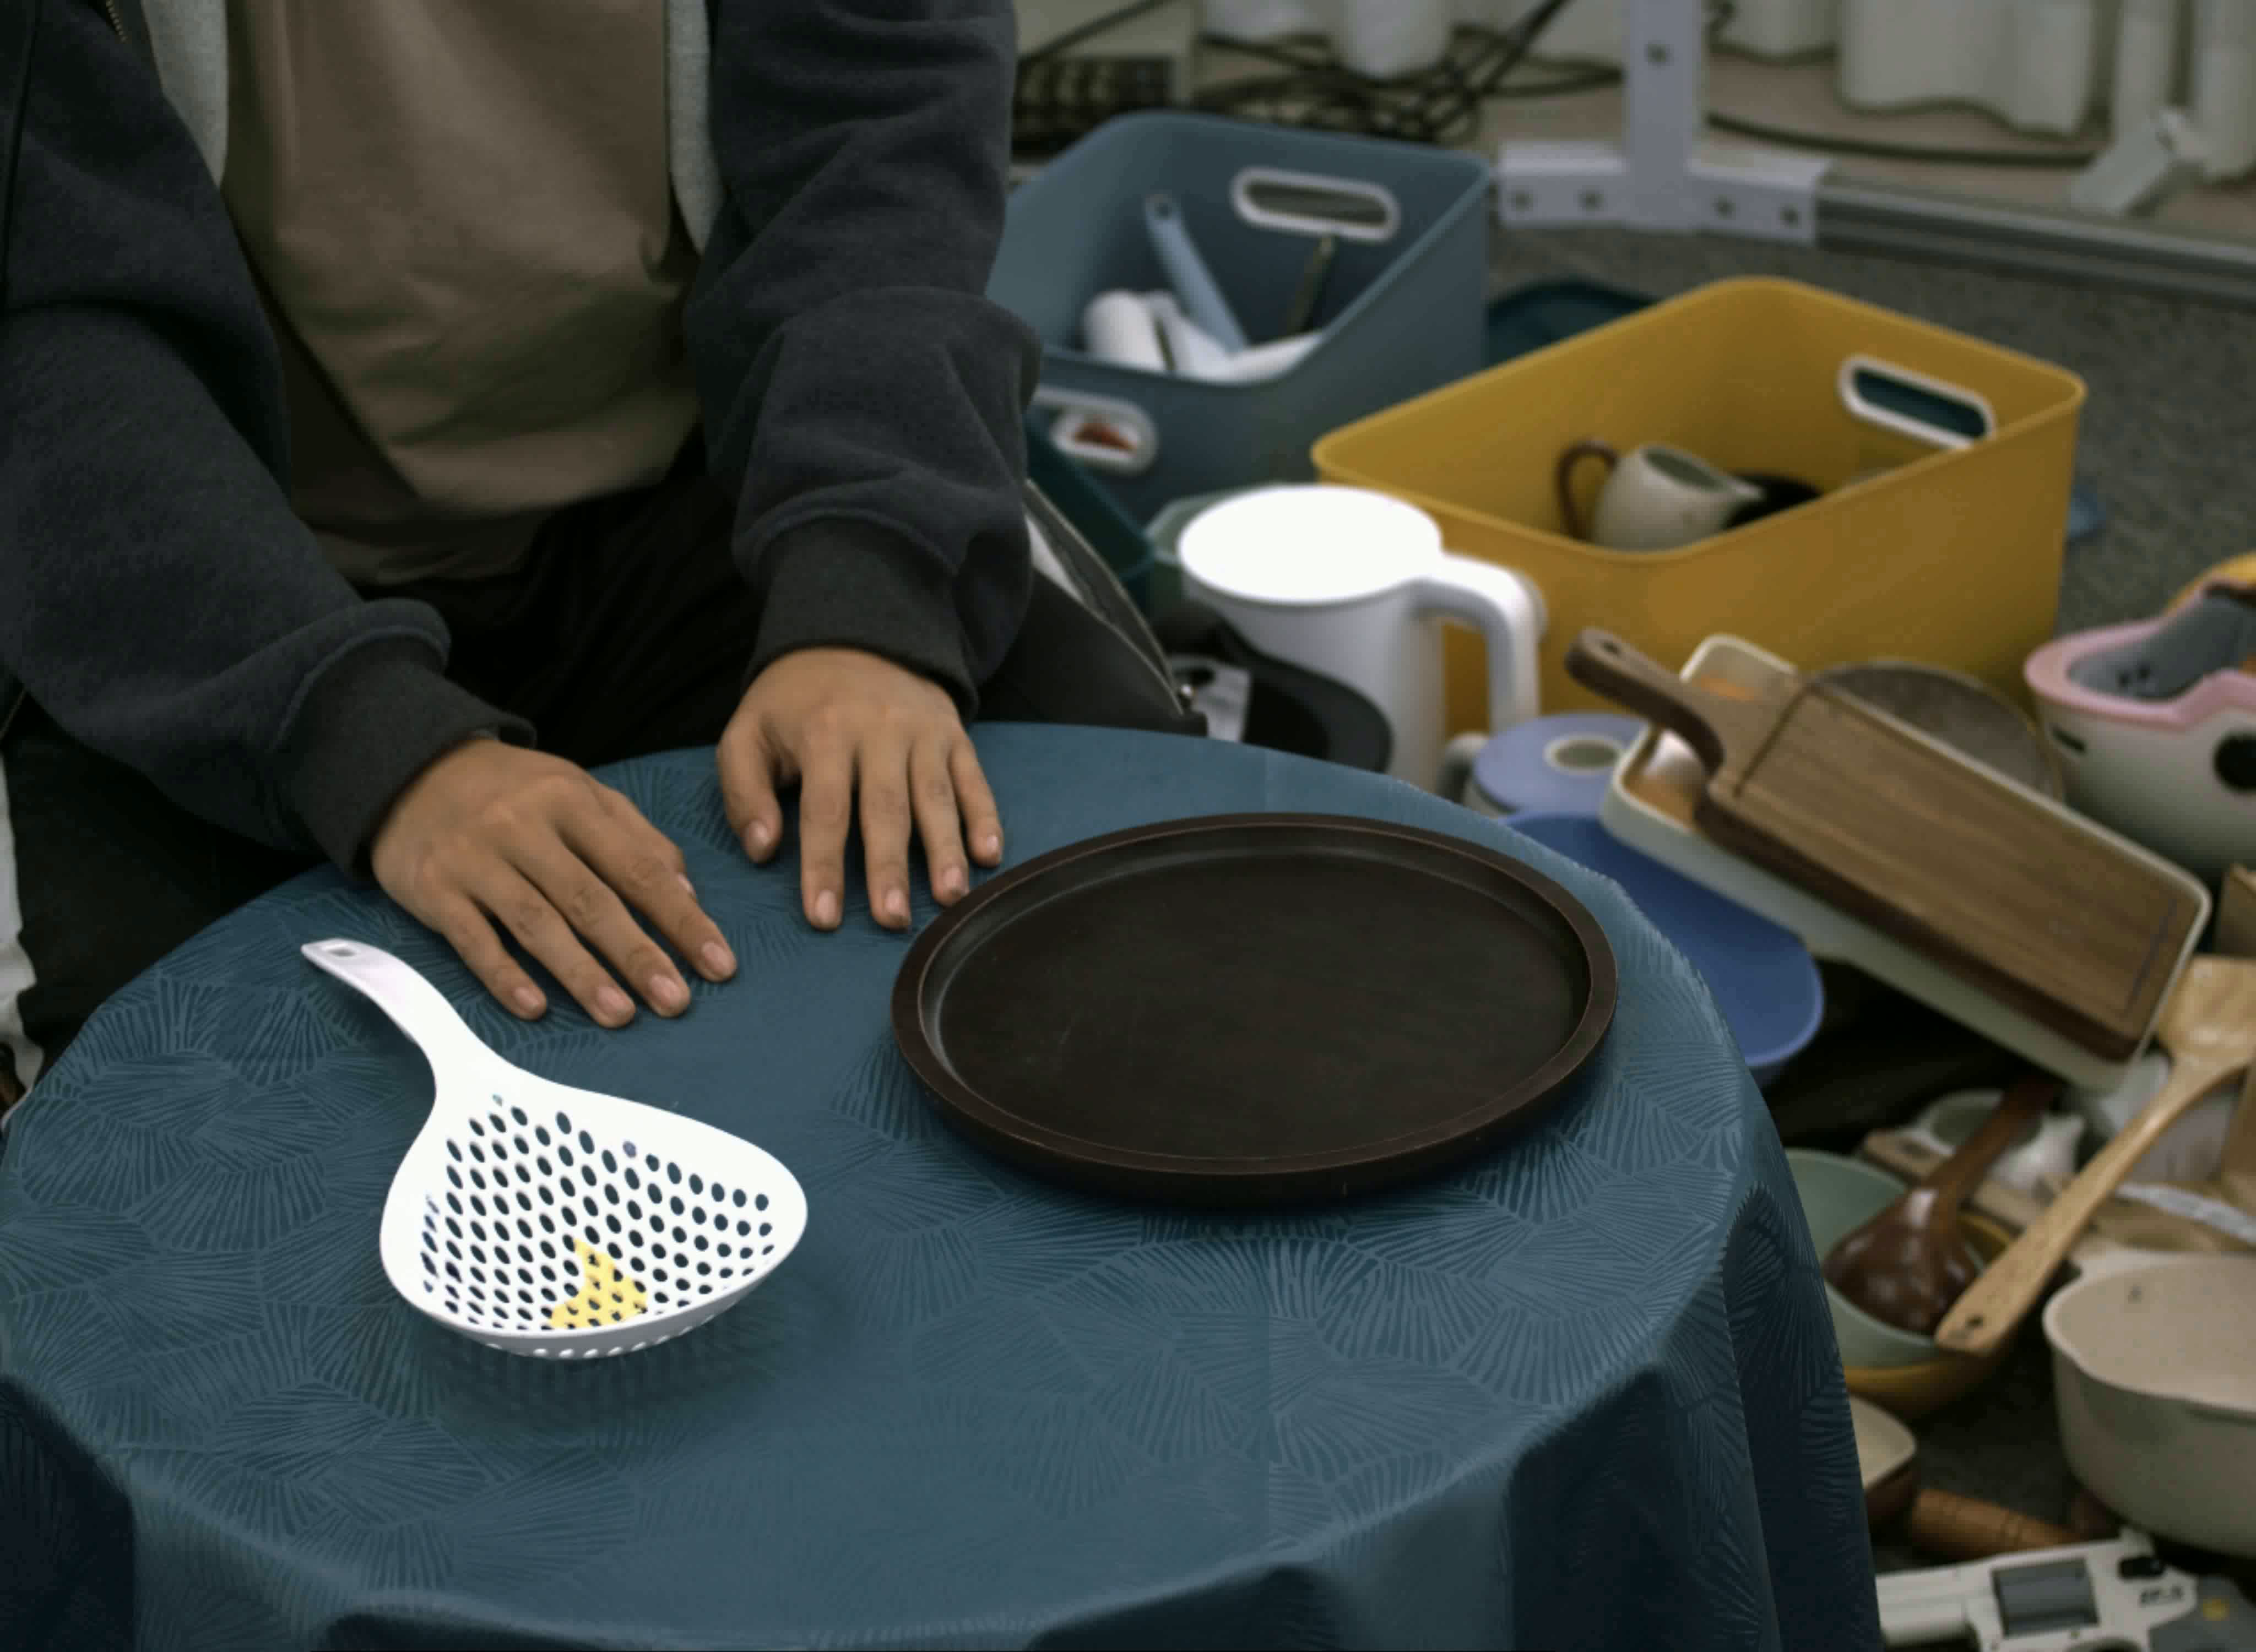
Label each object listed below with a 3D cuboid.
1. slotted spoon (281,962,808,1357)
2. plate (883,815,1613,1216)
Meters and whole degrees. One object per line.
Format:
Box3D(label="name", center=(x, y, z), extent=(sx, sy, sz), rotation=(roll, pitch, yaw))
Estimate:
Box3D(label="slotted spoon", center=(-0.218, 0.098, 1.885), extent=(0.137, 0.050, 0.350), rotation=(-17, 31, -21))
Box3D(label="plate", center=(0.042, 0.063, 1.945), extent=(0.253, 0.029, 0.259), rotation=(-3, 28, 2))
